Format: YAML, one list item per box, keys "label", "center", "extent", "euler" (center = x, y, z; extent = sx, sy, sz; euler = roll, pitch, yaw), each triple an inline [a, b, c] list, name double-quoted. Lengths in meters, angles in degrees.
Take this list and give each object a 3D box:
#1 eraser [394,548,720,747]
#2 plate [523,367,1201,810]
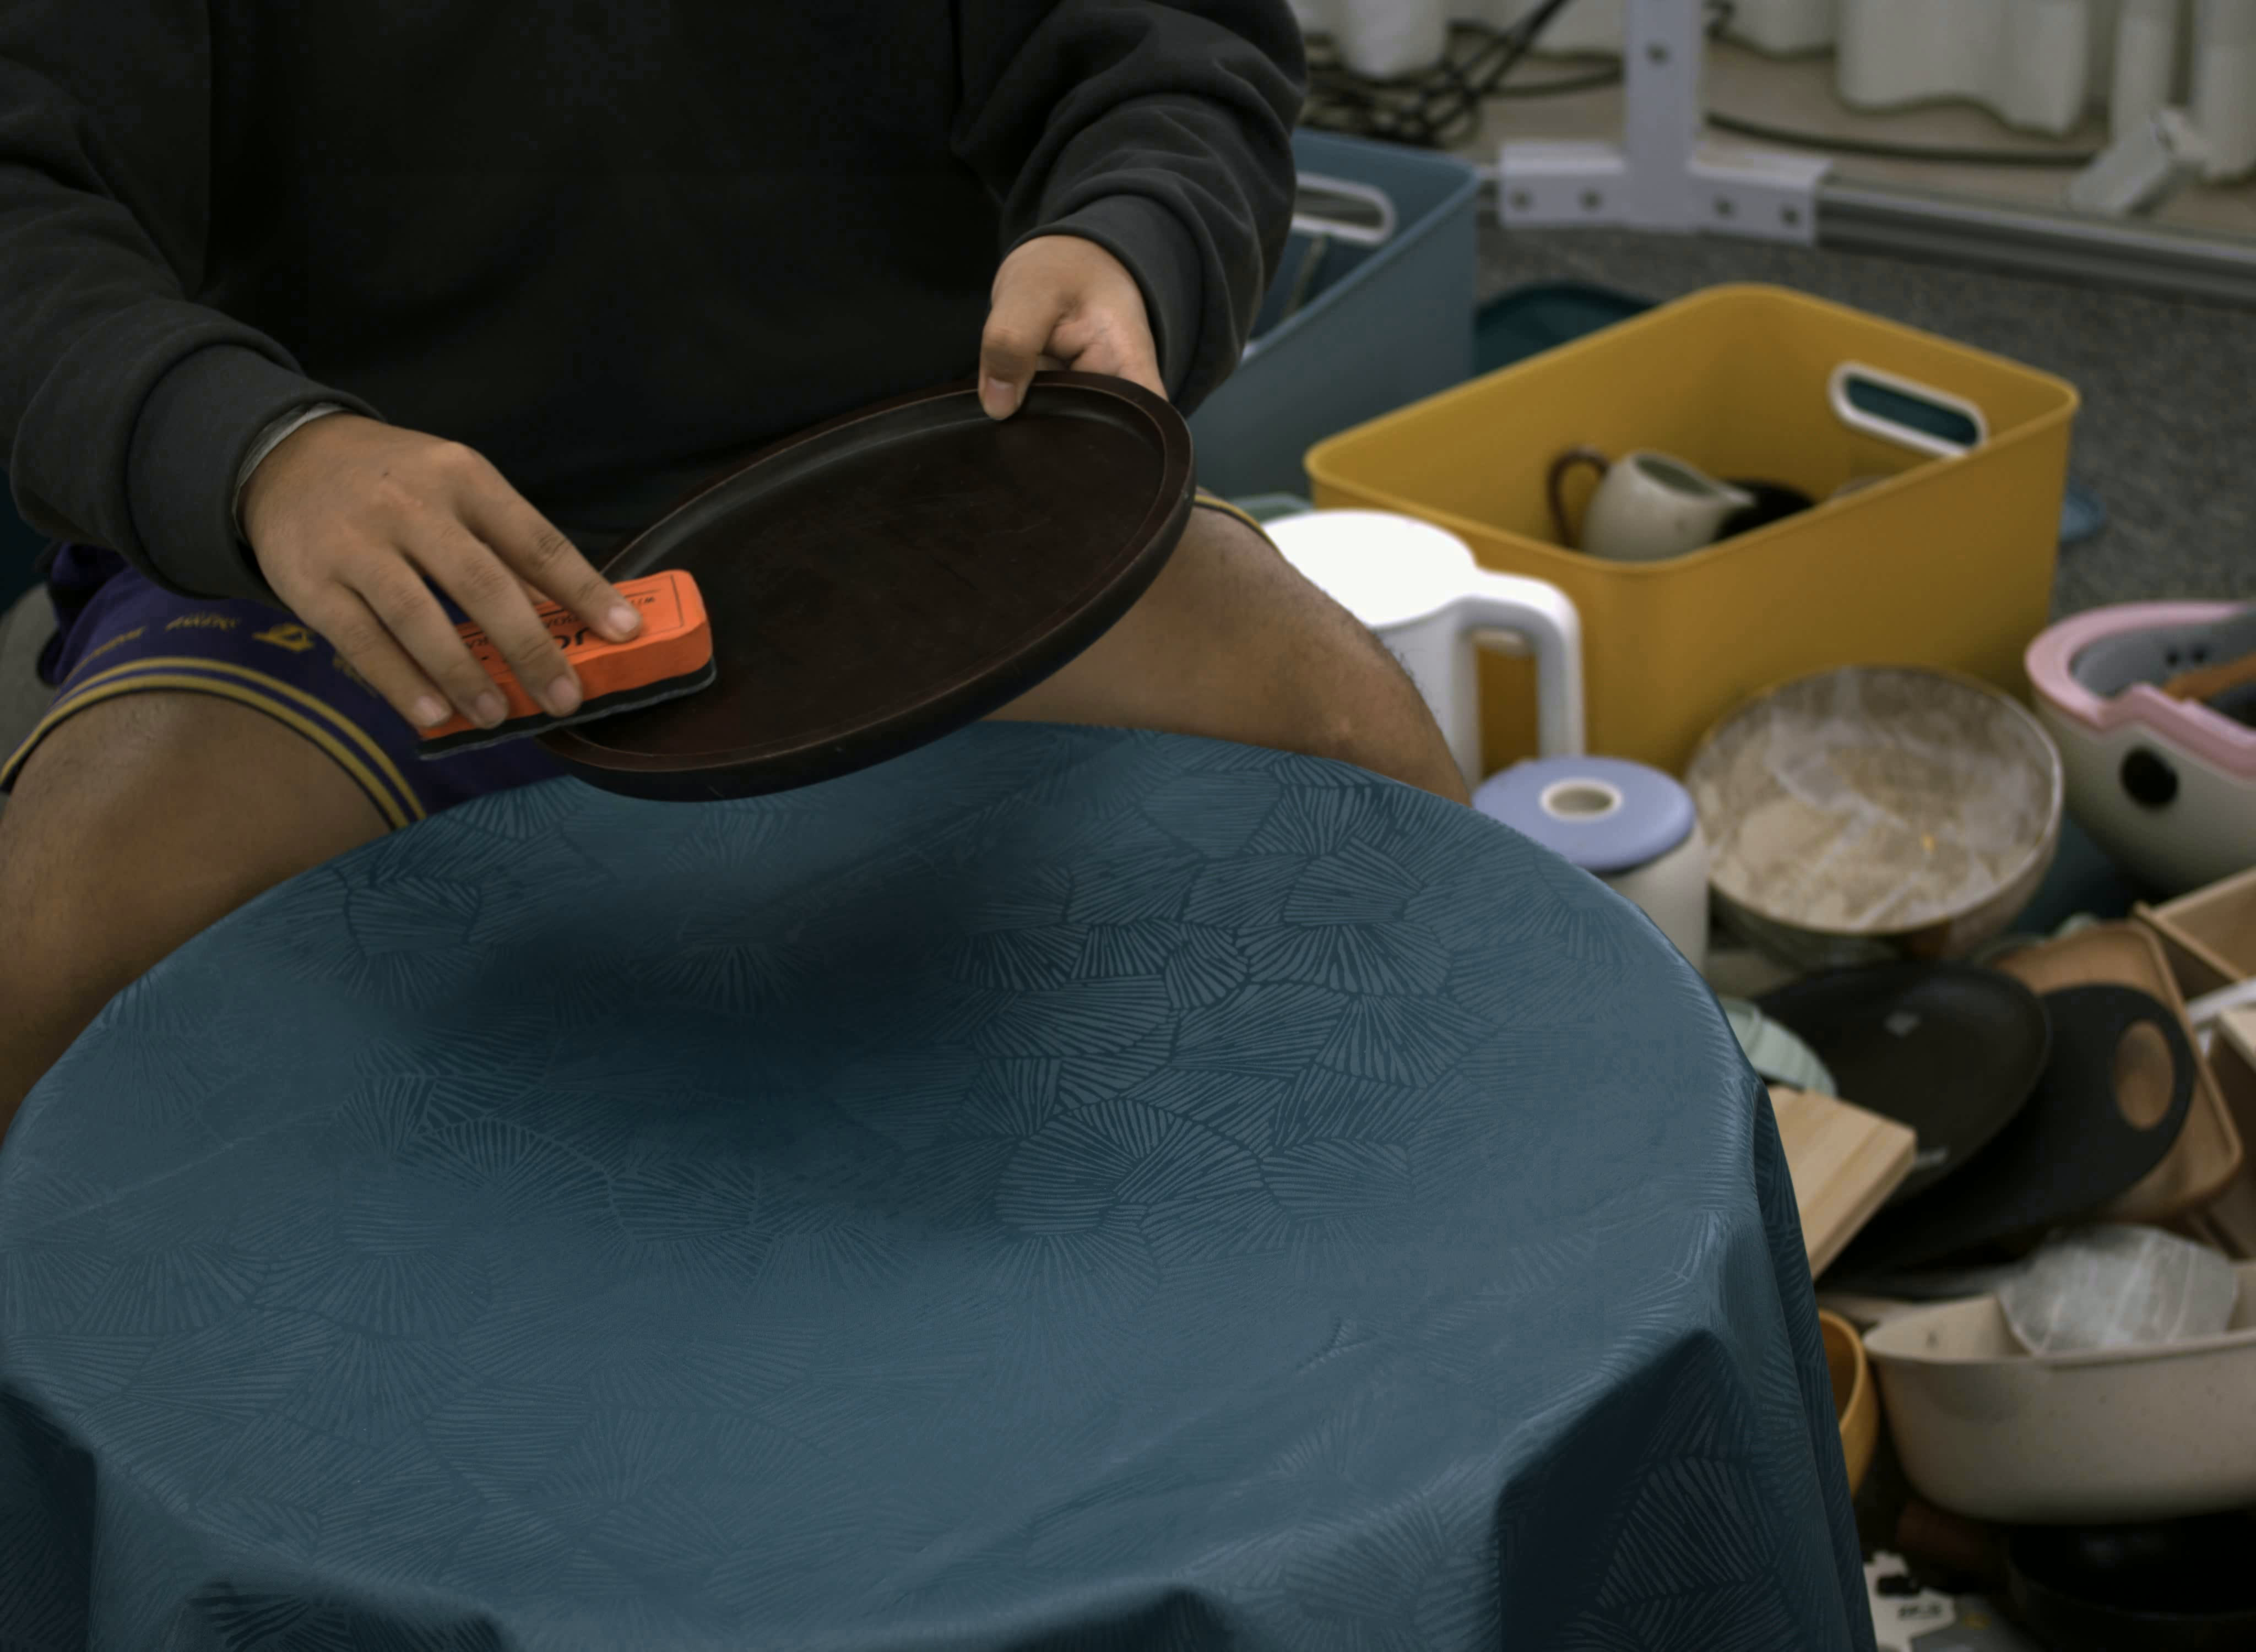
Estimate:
- label: "eraser"
  center: [-0.197, -0.061, 1.934]
  extent: [0.108, 0.022, 0.060]
  euler: [-15, 31, -4]
- label: "plate"
  center: [-0.091, -0.083, 1.947]
  extent: [0.253, 0.029, 0.259]
  euler: [-19, 27, 10]
